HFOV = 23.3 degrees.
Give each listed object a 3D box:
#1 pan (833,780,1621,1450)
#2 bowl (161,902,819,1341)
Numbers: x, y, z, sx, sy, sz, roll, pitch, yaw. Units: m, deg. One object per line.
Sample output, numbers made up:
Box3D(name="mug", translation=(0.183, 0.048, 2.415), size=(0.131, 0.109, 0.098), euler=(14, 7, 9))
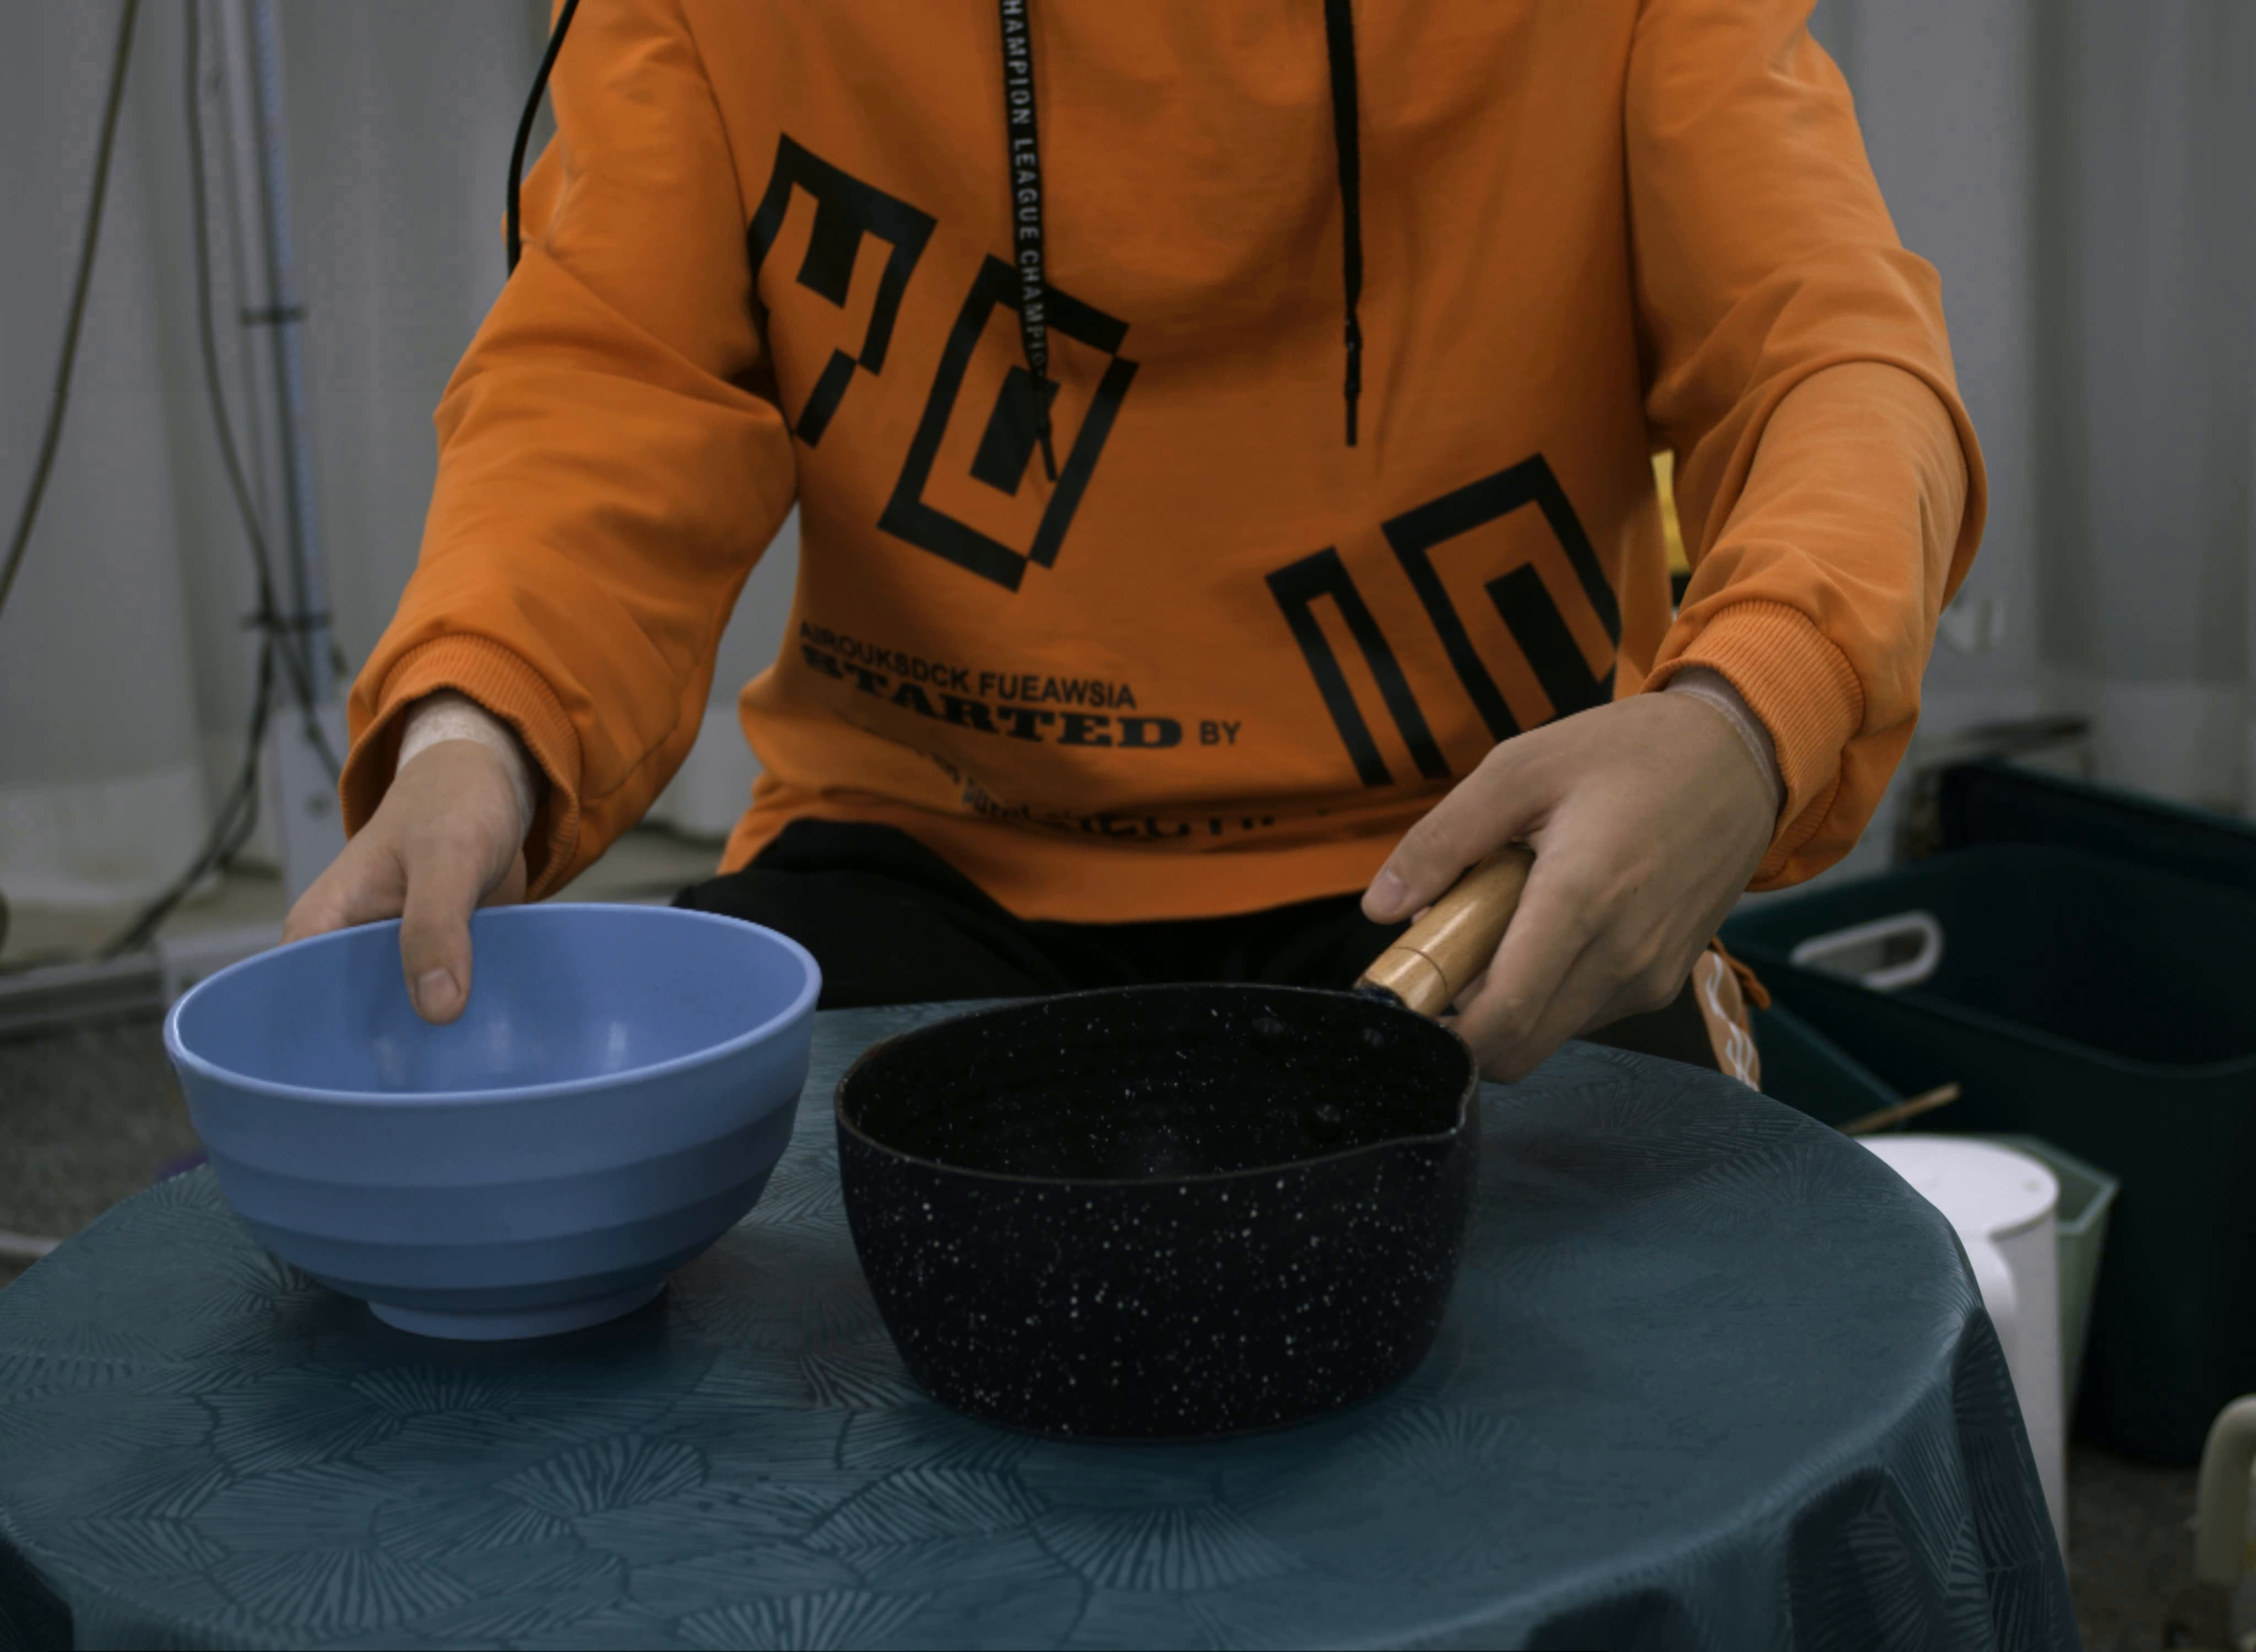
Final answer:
Box3D(name="pan", translation=(0.054, 0.081, 1.624), size=(0.208, 0.108, 0.343), euler=(5, 18, 34))
Box3D(name="bowl", translation=(-0.187, 0.094, 1.644), size=(0.196, 0.095, 0.198), euler=(-4, 15, 1))
